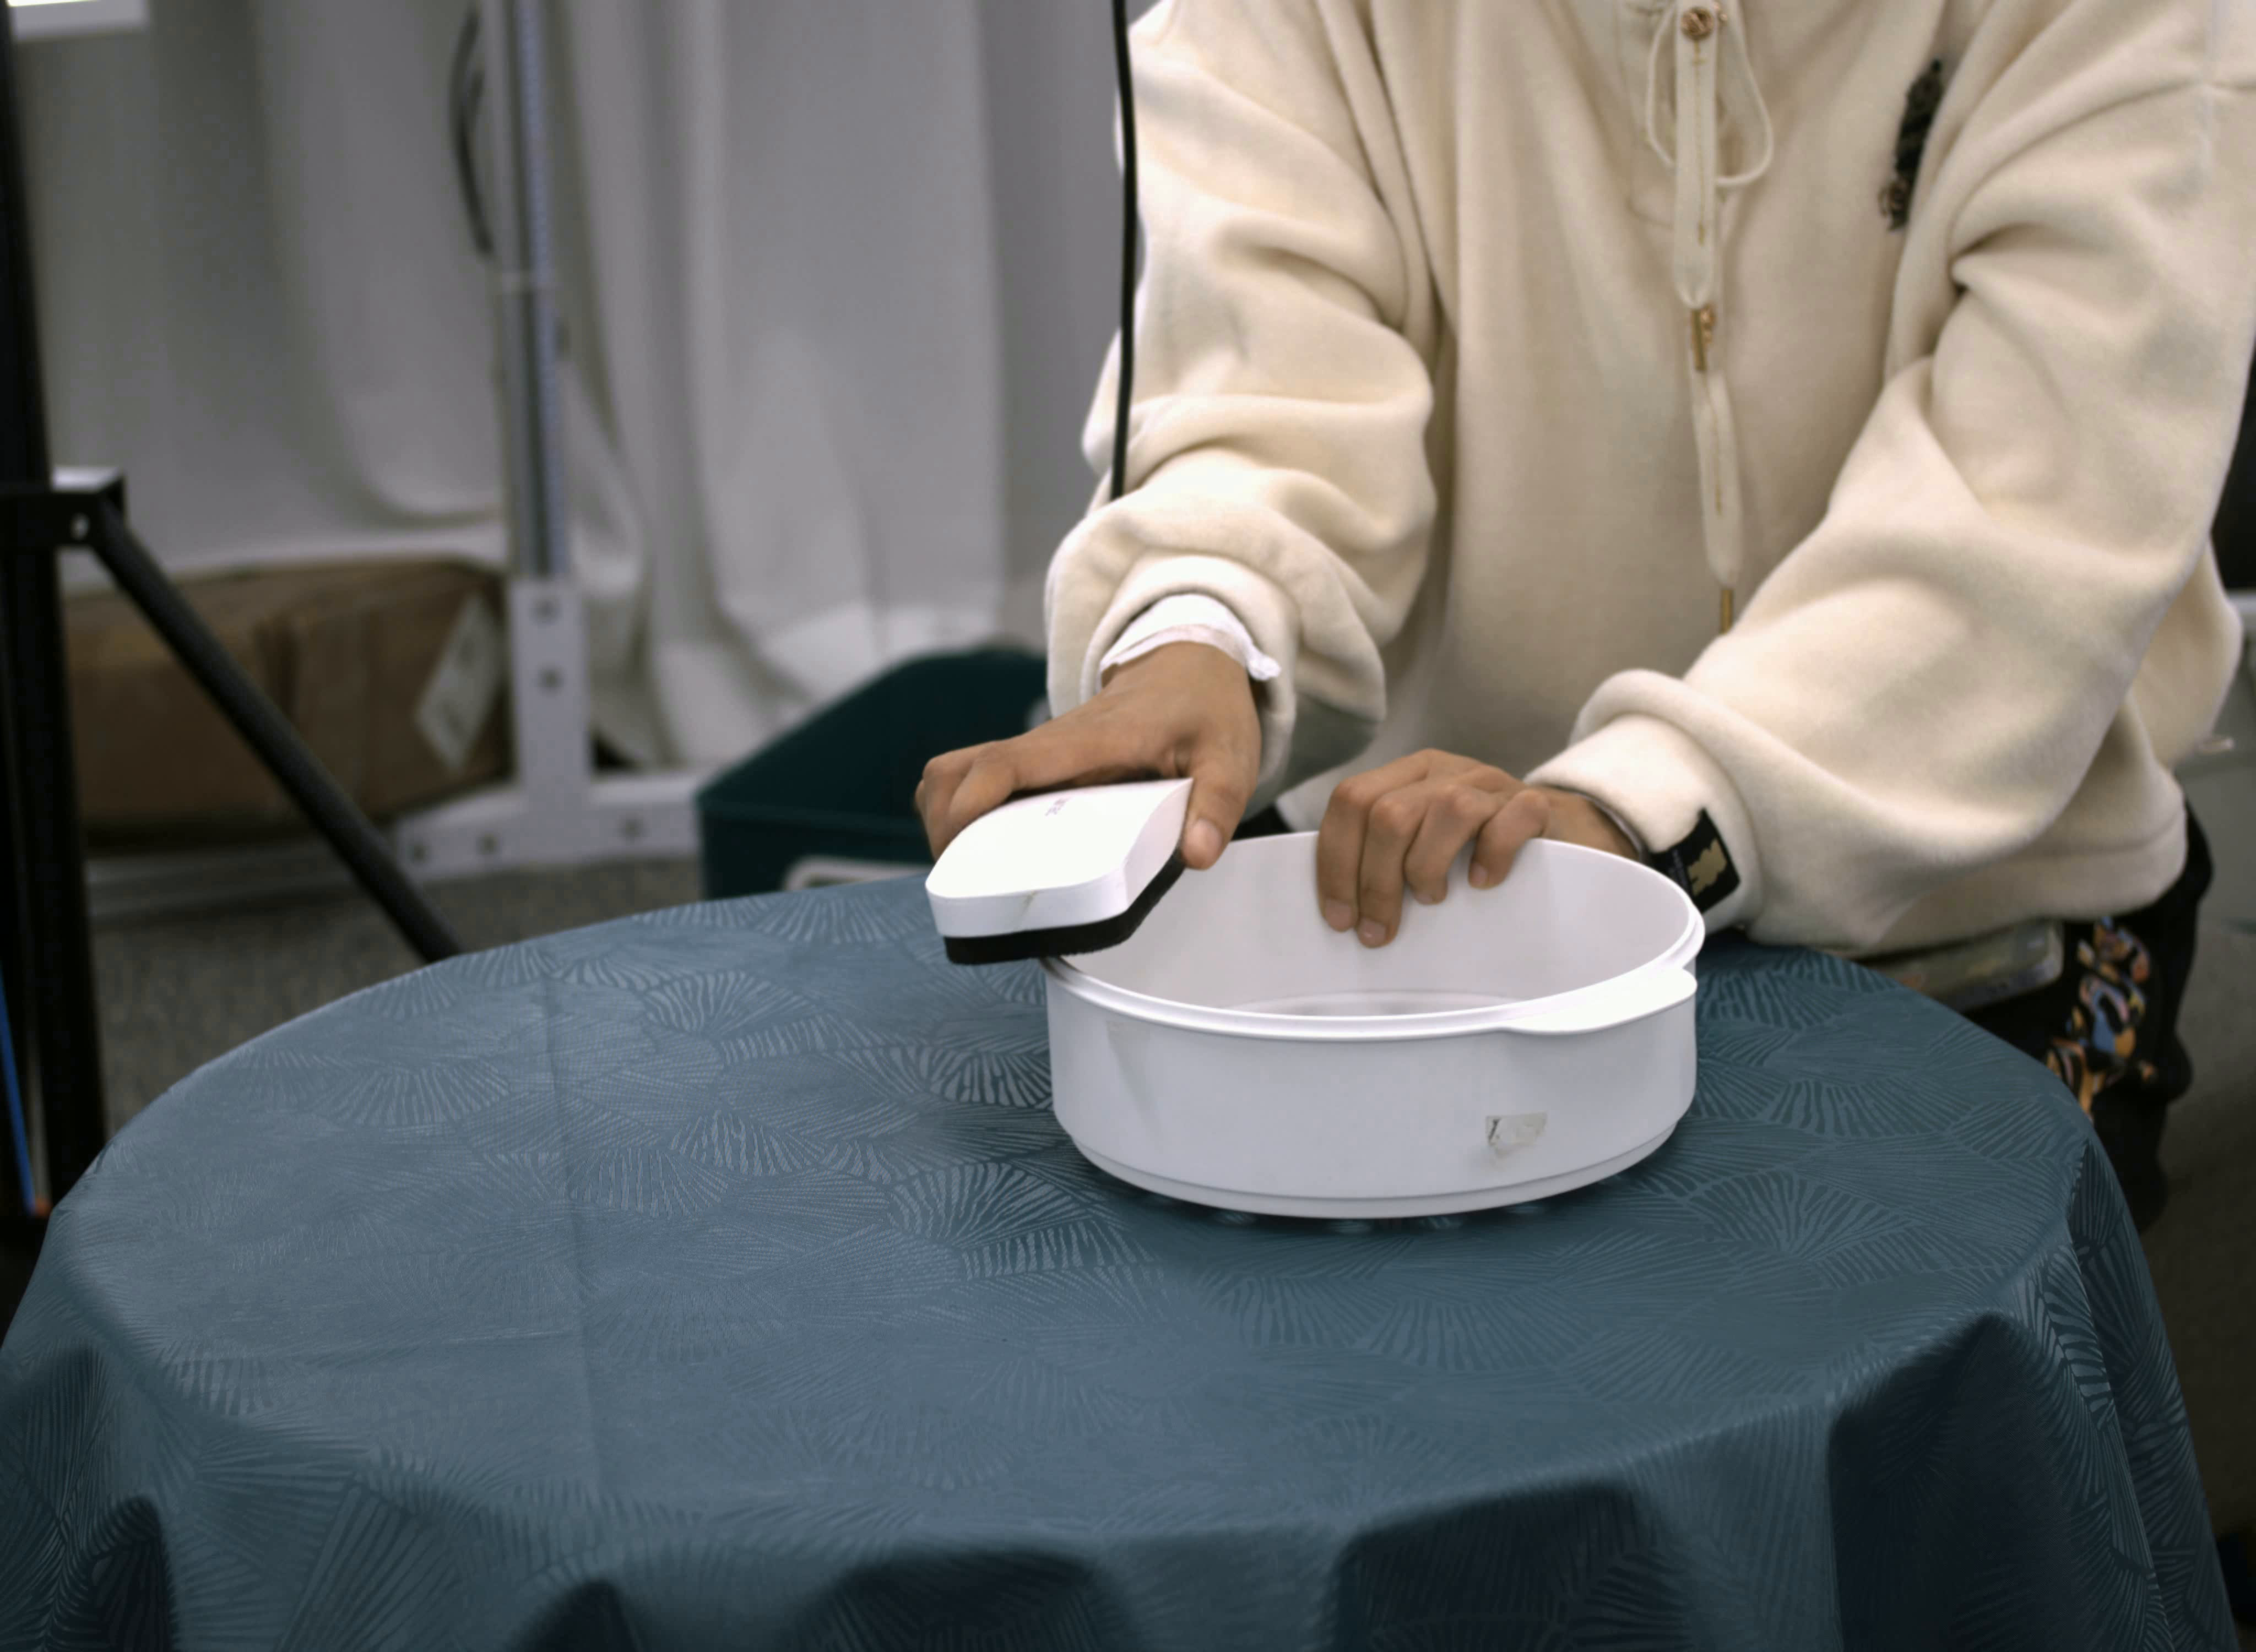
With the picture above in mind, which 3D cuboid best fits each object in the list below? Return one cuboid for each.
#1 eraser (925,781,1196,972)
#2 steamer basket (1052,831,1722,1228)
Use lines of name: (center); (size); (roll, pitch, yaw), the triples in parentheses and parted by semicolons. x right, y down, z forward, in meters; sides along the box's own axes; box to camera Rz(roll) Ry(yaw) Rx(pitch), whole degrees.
eraser: (-0.017, 0.011, 1.600); (0.064, 0.034, 0.130); (-6, 13, 15)
steamer basket: (0.077, 0.061, 1.589); (0.197, 0.069, 0.236); (-15, 21, -38)
